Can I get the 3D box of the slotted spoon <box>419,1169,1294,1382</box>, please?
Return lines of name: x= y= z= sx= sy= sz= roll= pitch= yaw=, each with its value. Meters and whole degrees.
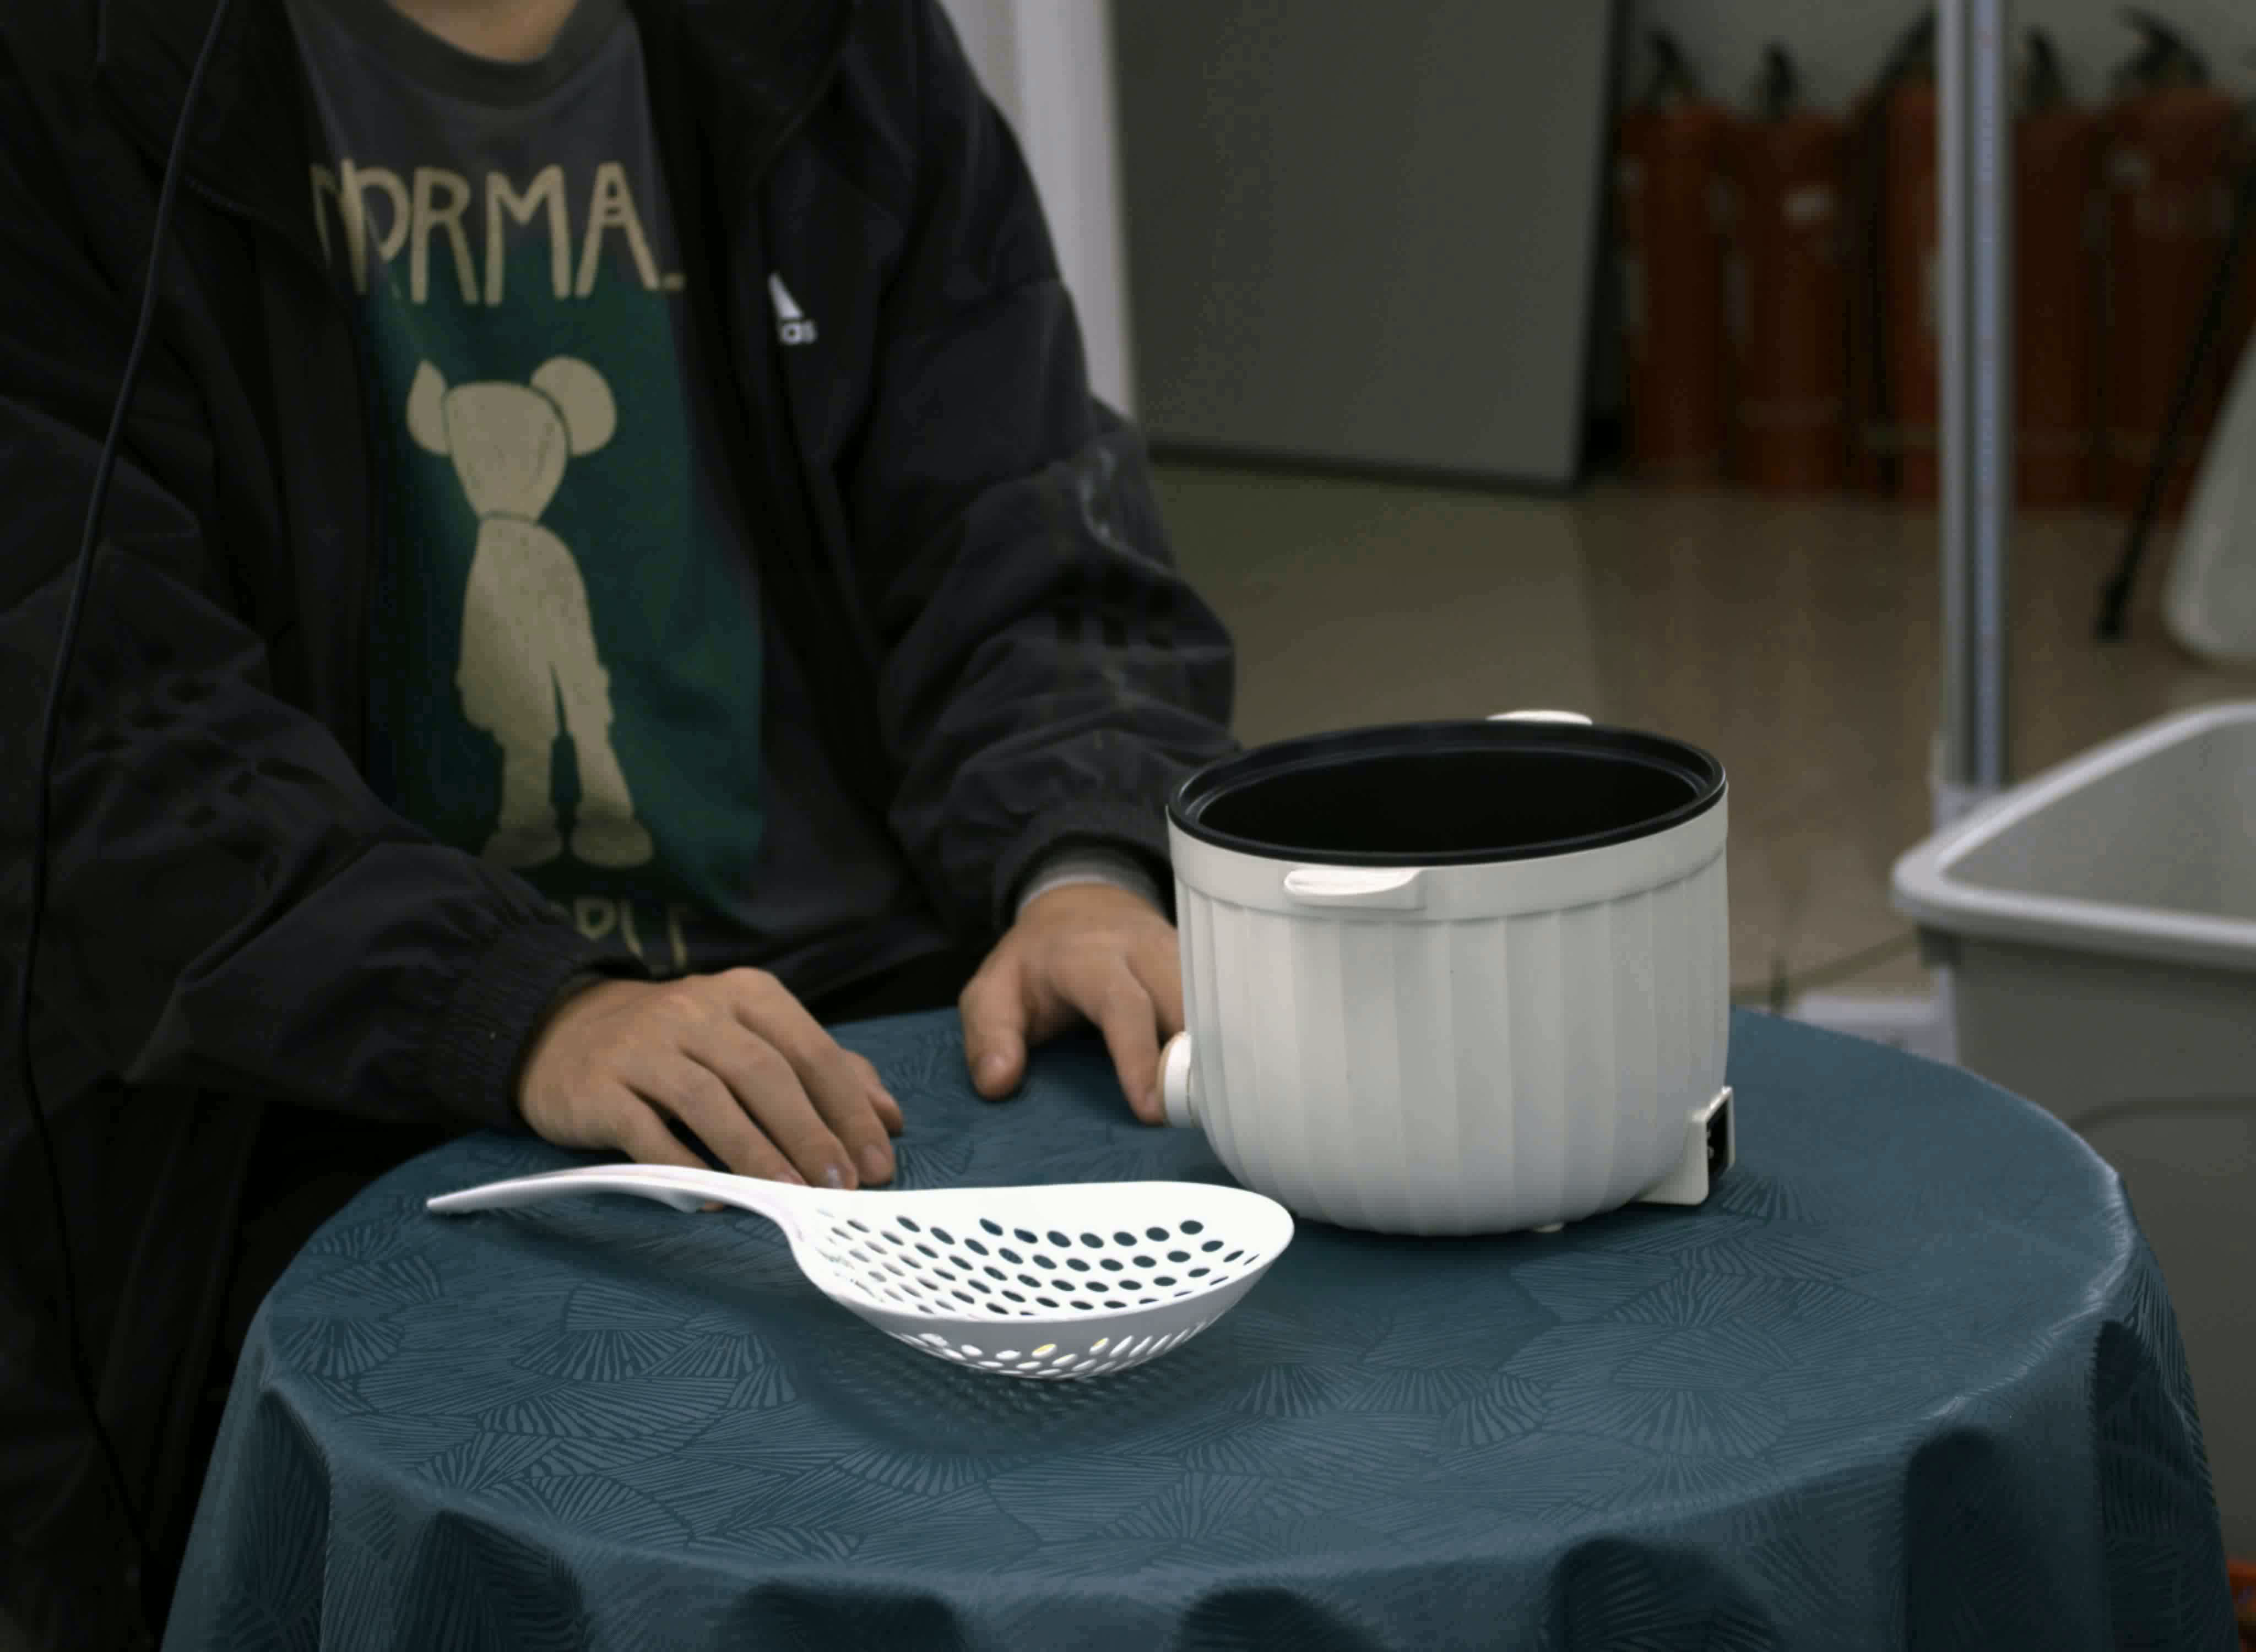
slotted spoon: x=-0.099 y=0.129 z=1.682 sx=0.351 sy=0.051 sz=0.134 roll=9 pitch=20 yaw=42

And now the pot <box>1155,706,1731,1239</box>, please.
pot: x=0.100 y=0.050 z=1.743 sx=0.190 sy=0.144 sz=0.238 roll=4 pitch=14 yaw=20
